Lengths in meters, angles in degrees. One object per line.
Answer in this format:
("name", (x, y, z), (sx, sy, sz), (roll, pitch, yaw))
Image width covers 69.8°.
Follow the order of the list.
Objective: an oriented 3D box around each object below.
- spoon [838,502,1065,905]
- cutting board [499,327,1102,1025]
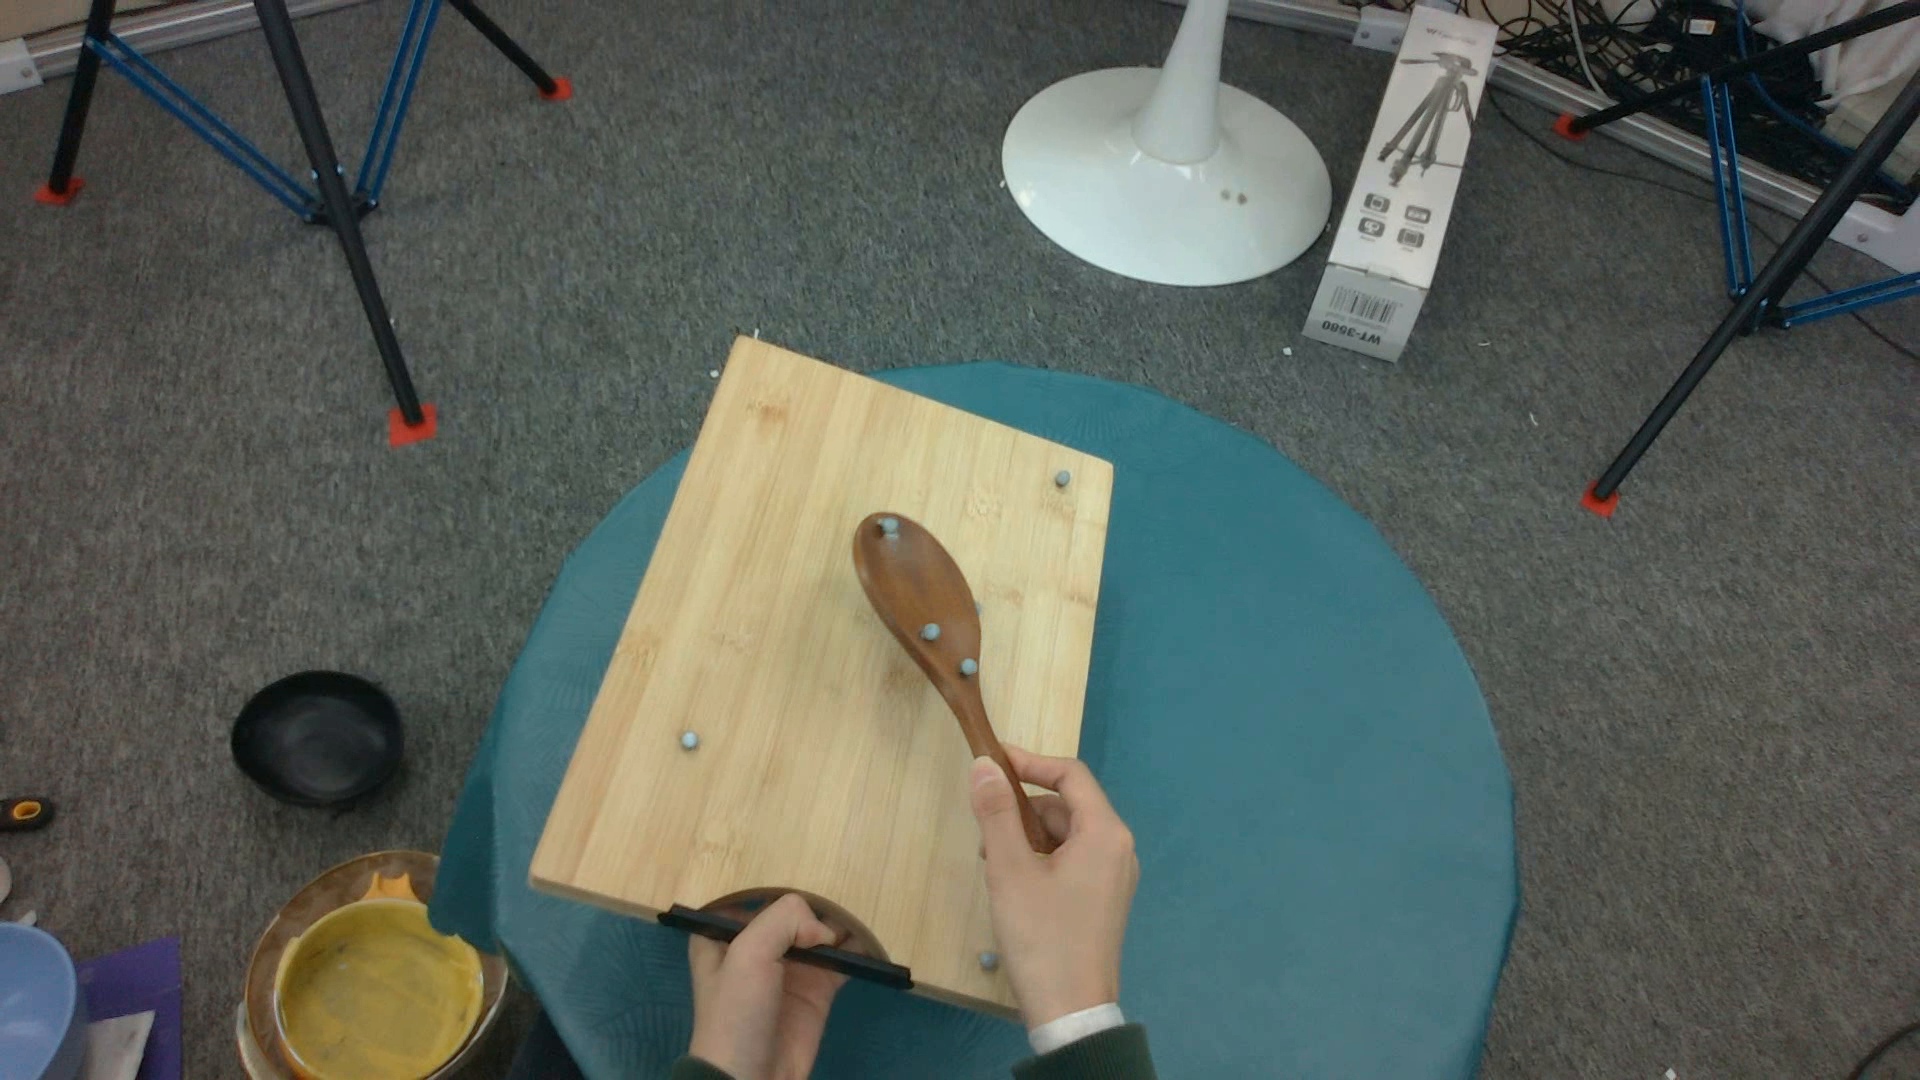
("spoon", (-0.005, 0.070, 0.645), (0.075, 0.017, 0.216), (12, 44, -50))
("cutting board", (-0.058, 0.052, 0.721), (0.251, 0.023, 0.350), (17, 52, -9))
